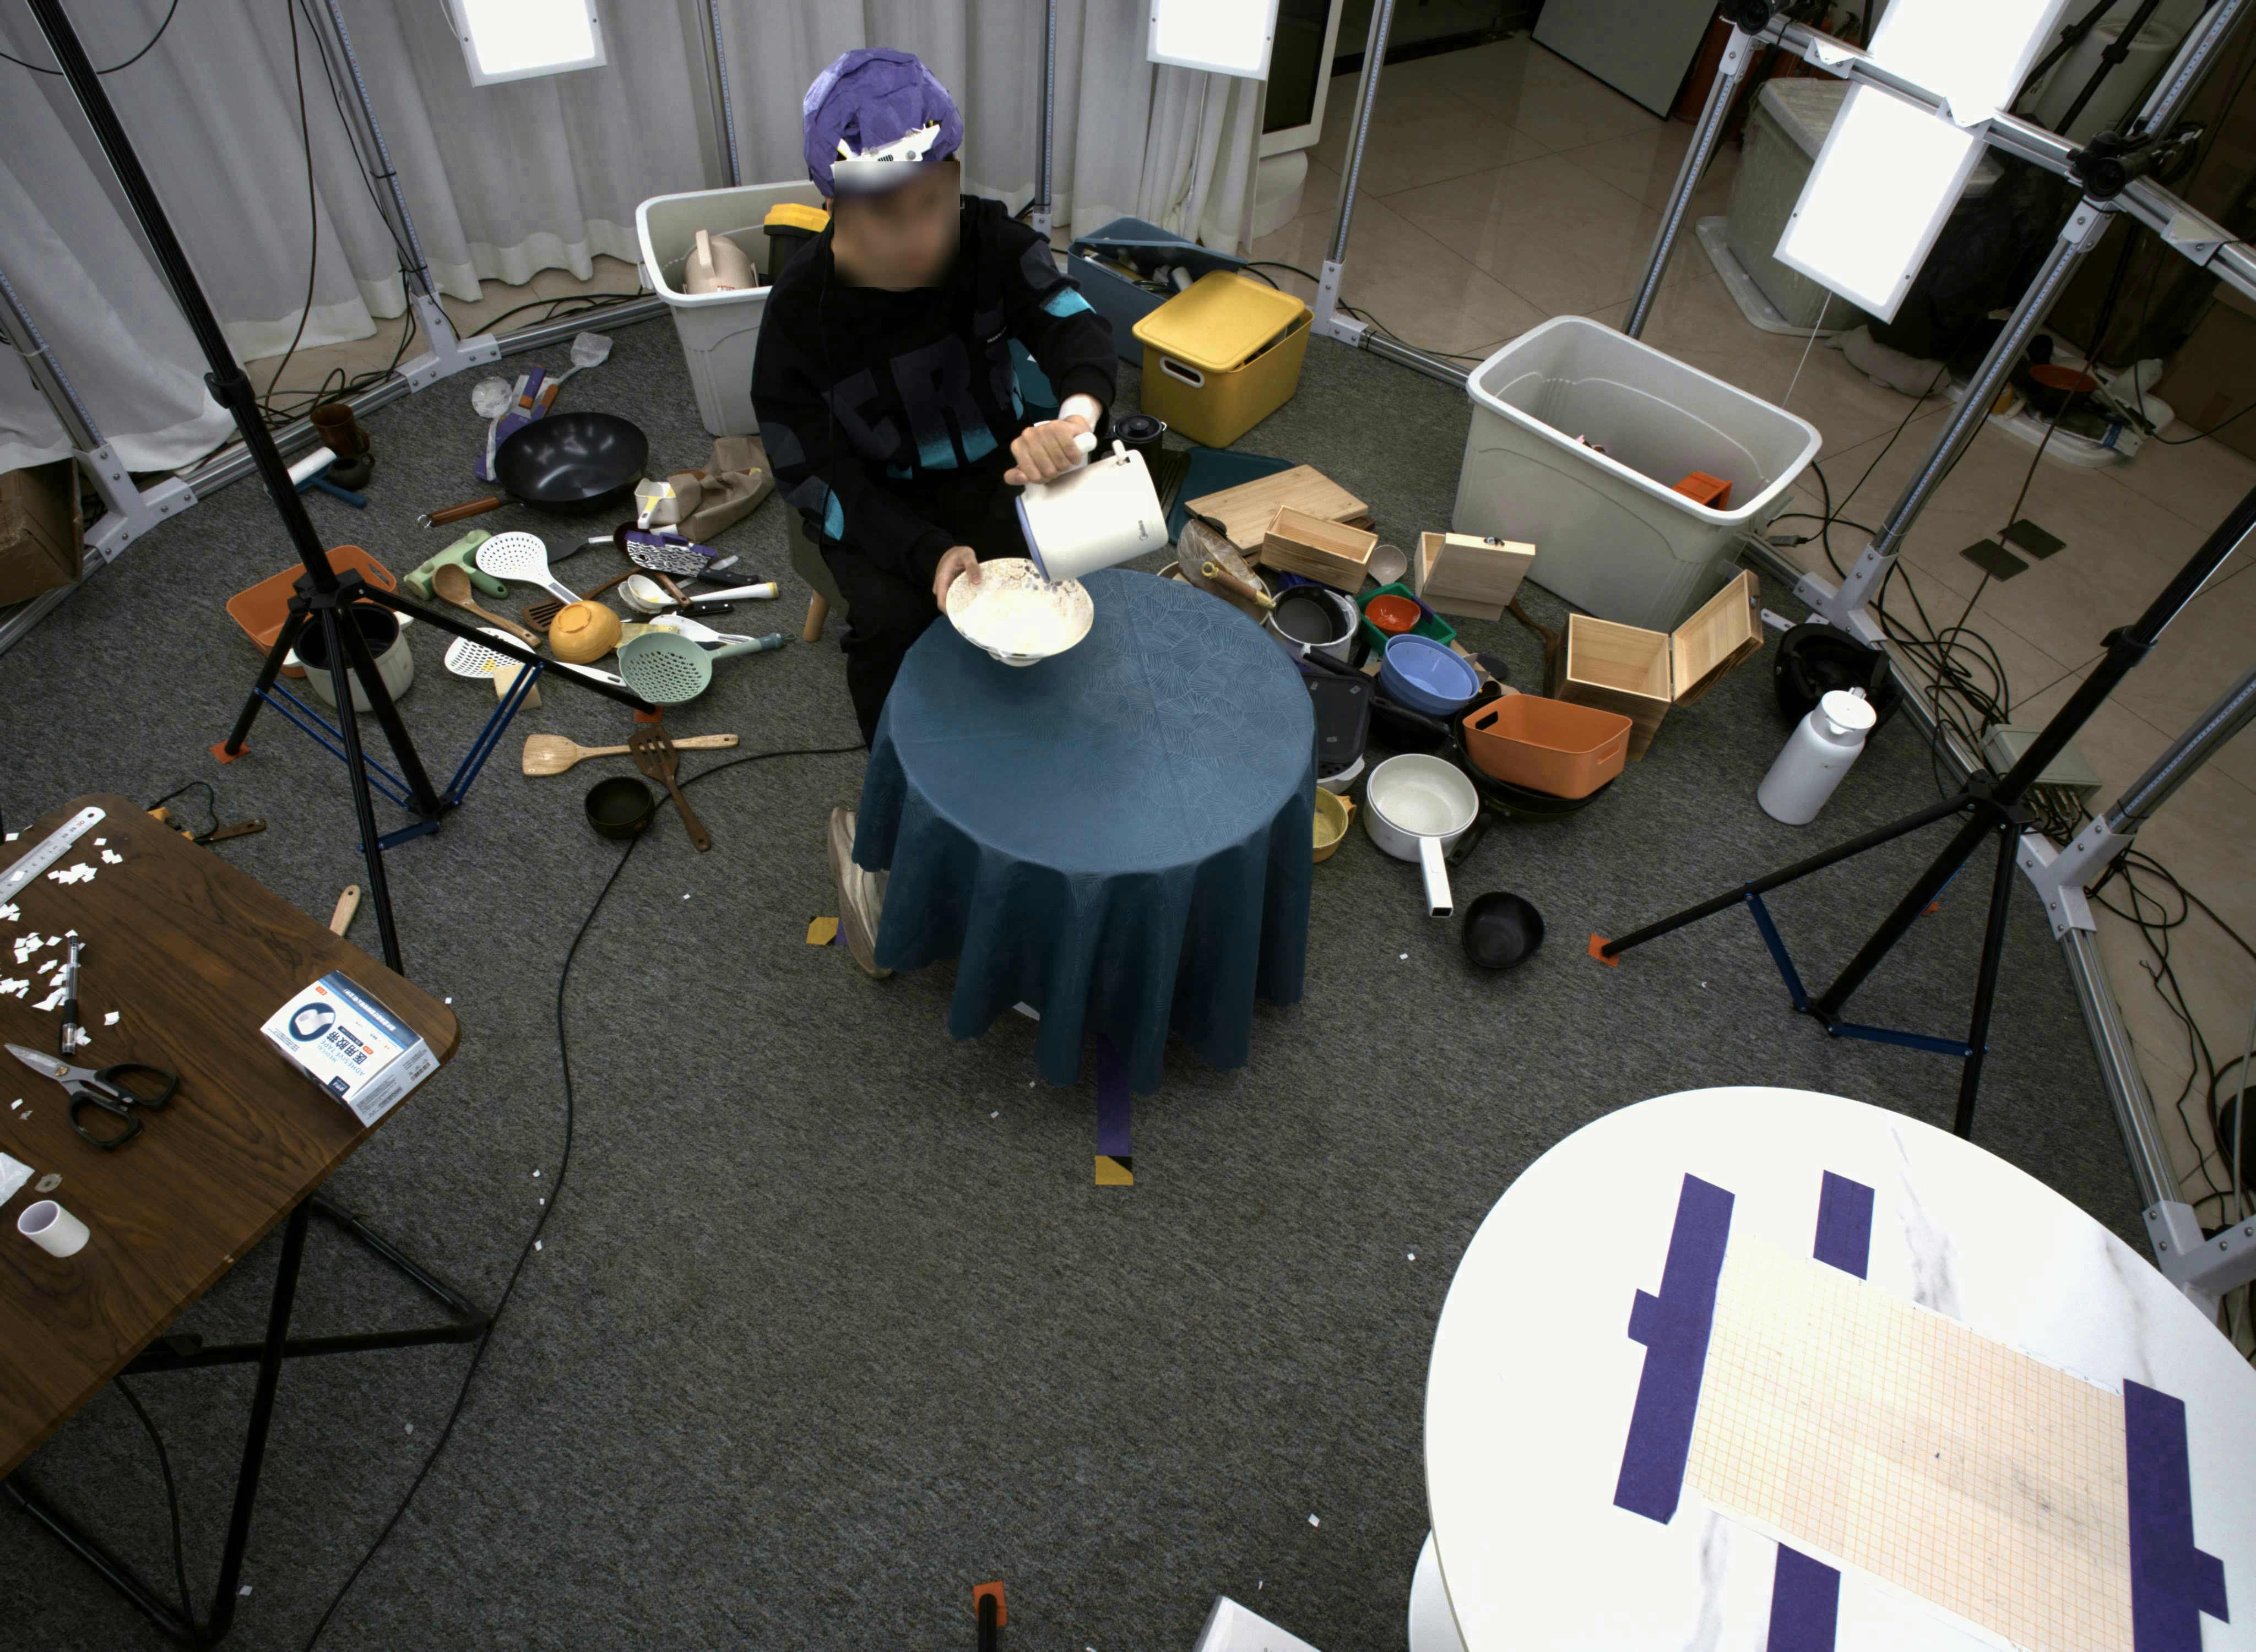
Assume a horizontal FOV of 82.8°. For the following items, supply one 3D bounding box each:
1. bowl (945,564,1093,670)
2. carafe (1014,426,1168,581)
[{"bbox_3d":[-0.153,-0.276,1.798,0.203,0.076,0.209,4,45,-4],"label":"bowl"},{"bbox_3d":[-0.053,-0.418,1.658,0.182,0.186,0.135,-18,43,-1],"label":"carafe"}]
